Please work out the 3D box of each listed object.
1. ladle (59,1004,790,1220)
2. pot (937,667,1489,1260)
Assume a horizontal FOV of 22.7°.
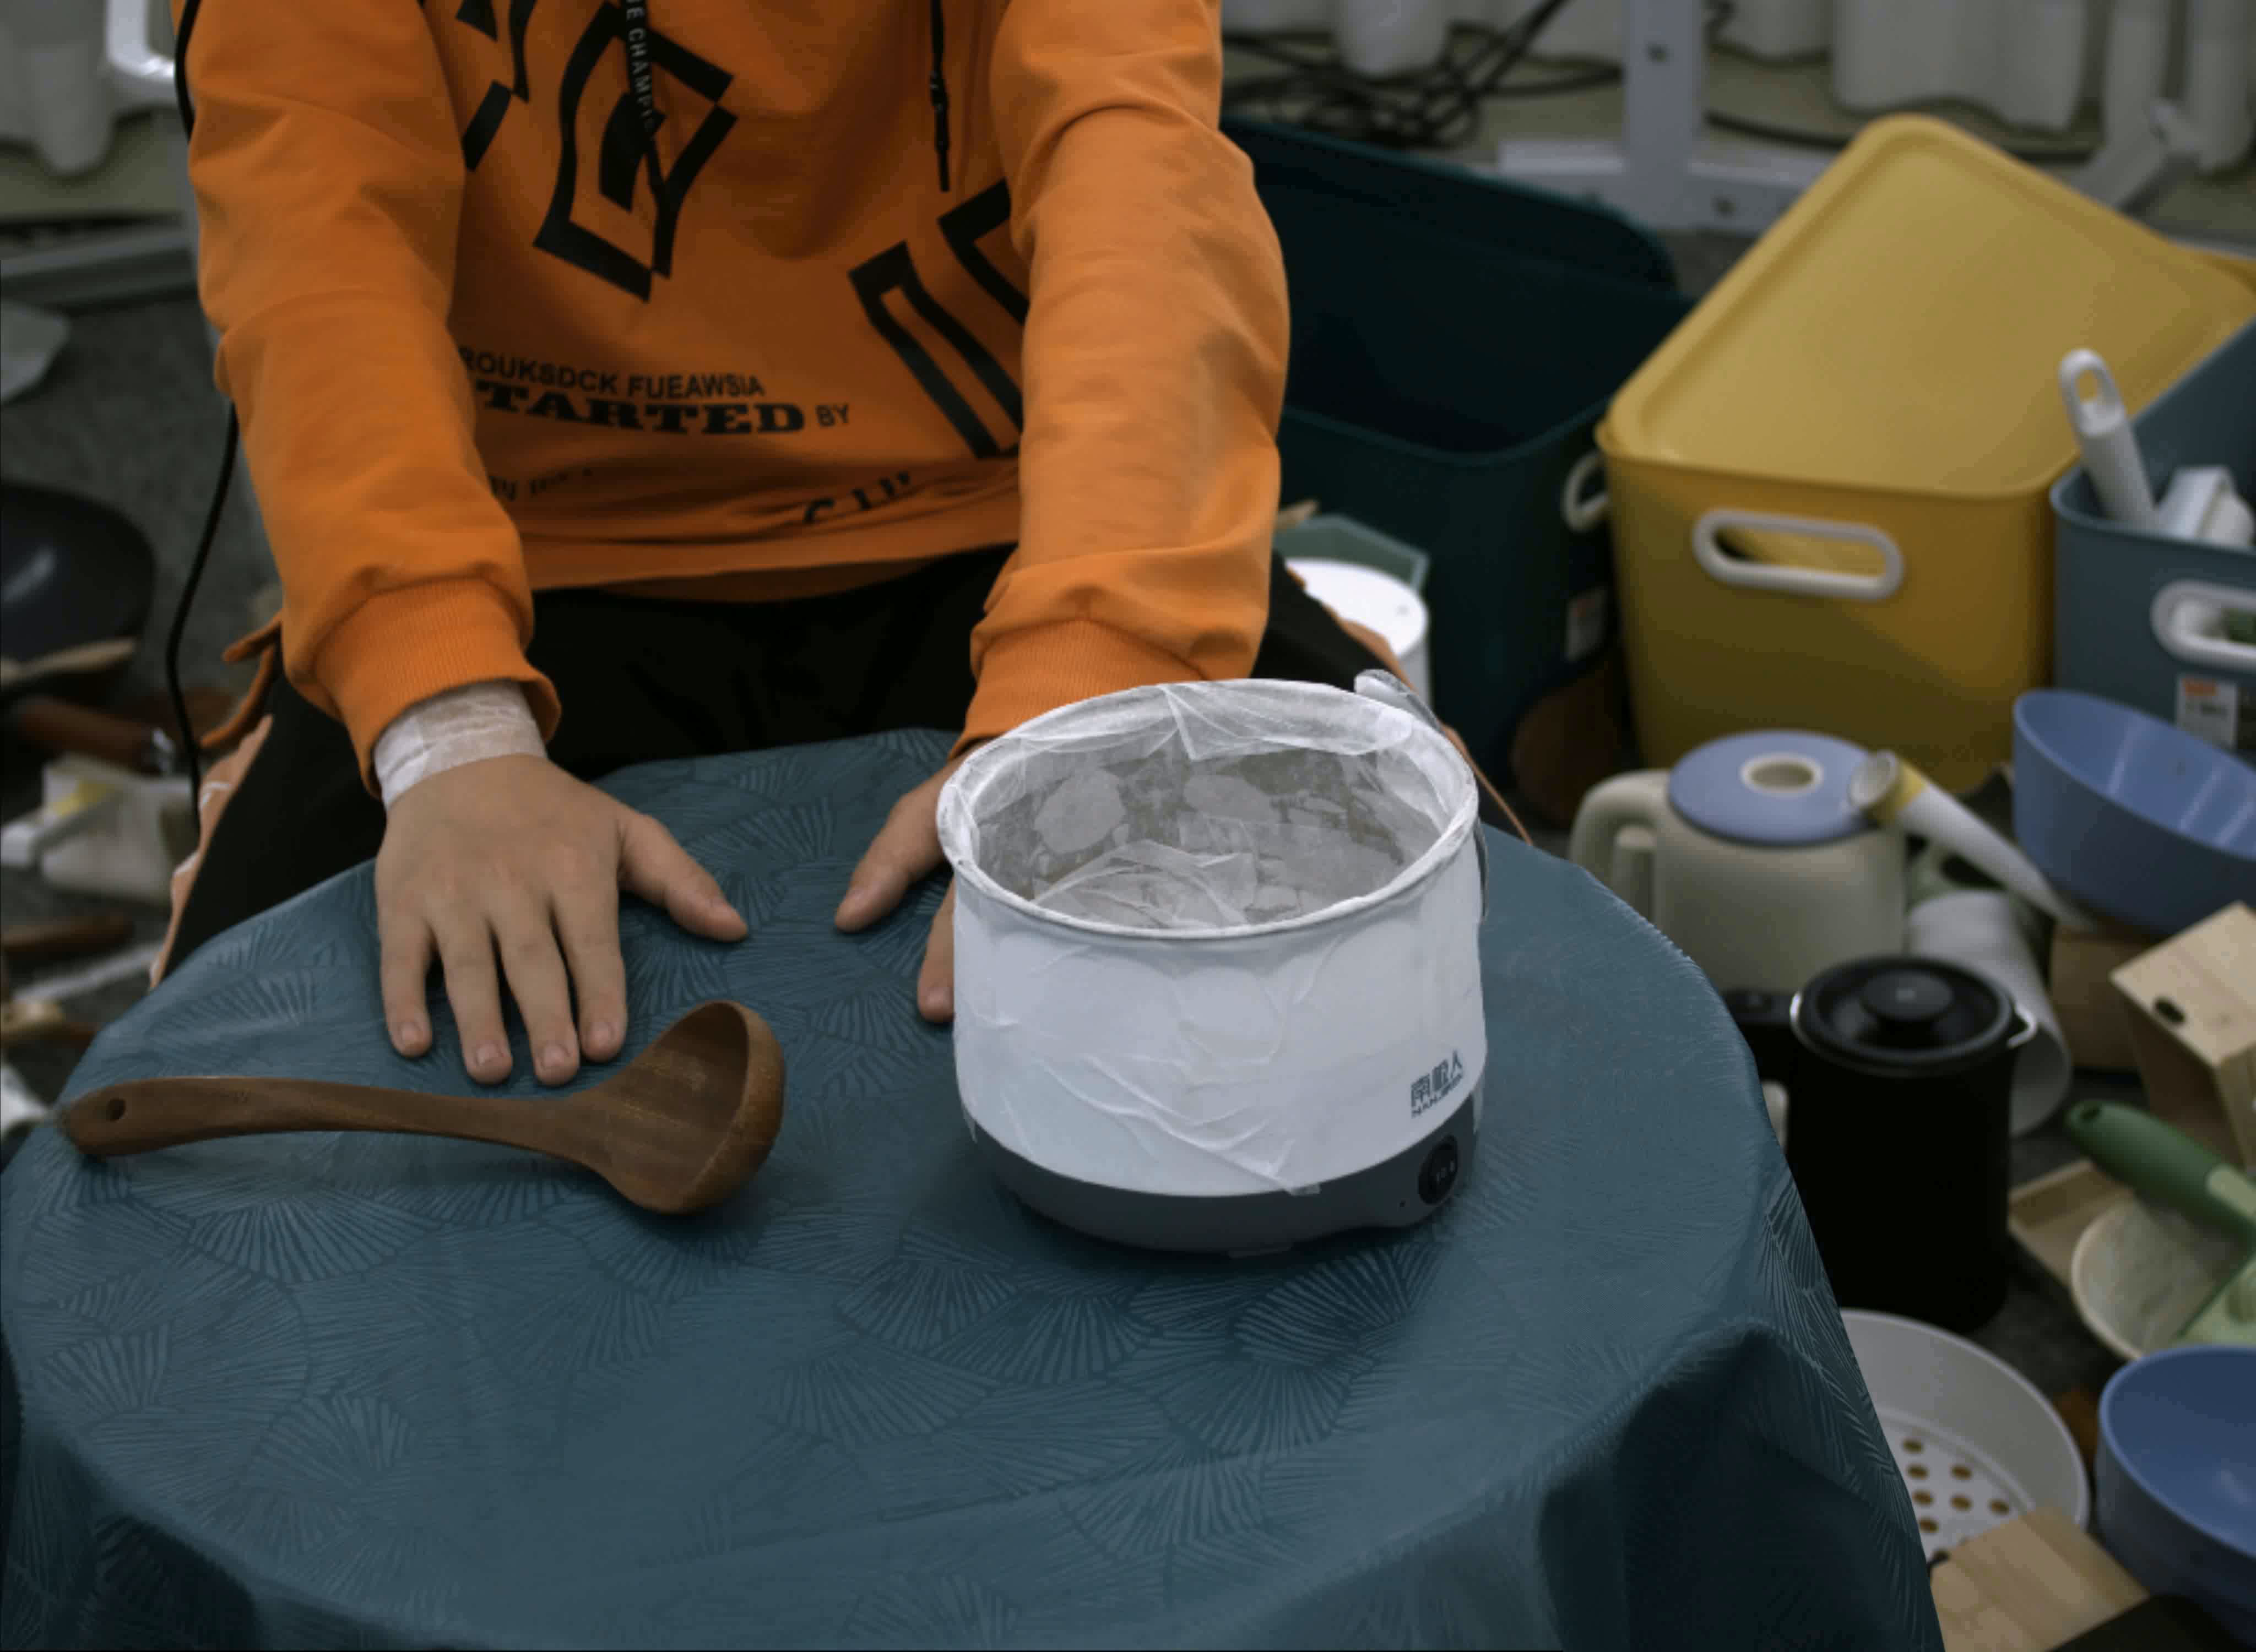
[{"bbox_3d":[-0.238,0.093,1.876,0.258,0.064,0.078,2,53,8],"label":"ladle"},{"bbox_3d":[0.044,0.036,1.874,0.178,0.135,0.237,15,33,31],"label":"pot"}]
